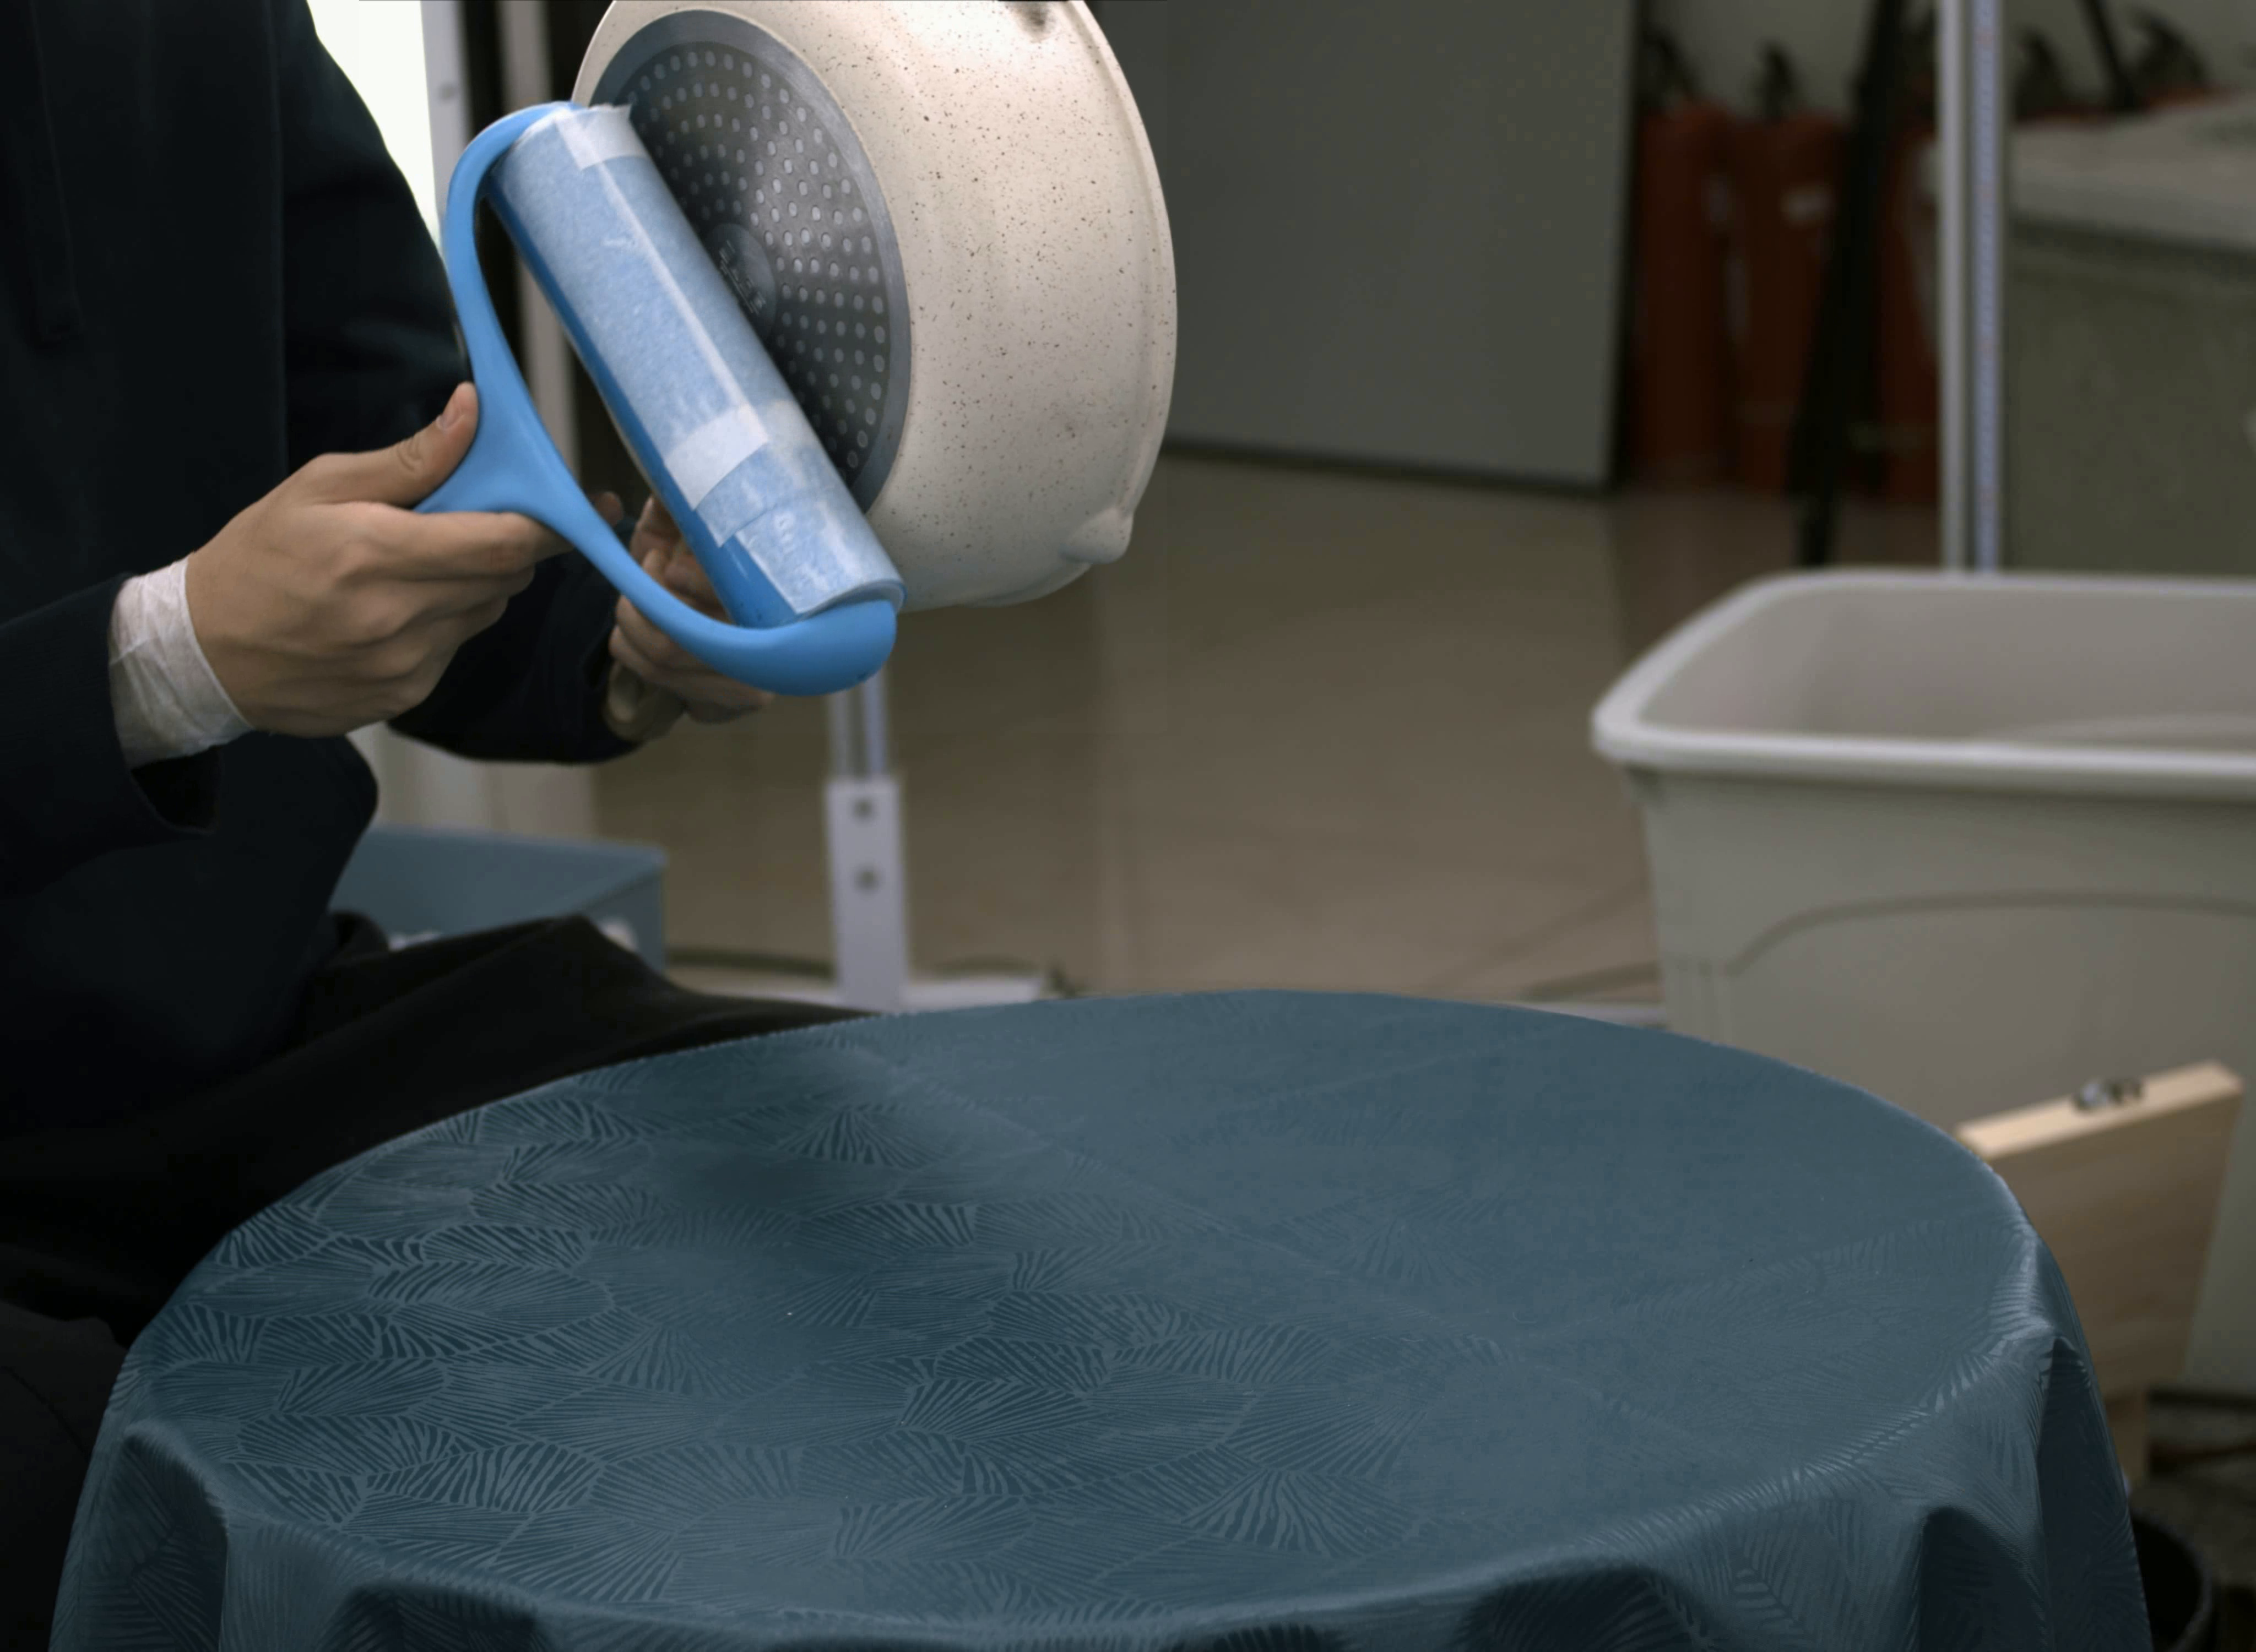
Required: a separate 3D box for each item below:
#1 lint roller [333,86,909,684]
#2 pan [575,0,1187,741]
[{"bbox_3d":[-0.188,-0.109,1.743,0.180,0.231,0.067,-36,-18,4],"label":"lint roller"},{"bbox_3d":[-0.128,-0.139,1.852,0.100,0.266,0.439,-19,-20,-37],"label":"pan"}]
